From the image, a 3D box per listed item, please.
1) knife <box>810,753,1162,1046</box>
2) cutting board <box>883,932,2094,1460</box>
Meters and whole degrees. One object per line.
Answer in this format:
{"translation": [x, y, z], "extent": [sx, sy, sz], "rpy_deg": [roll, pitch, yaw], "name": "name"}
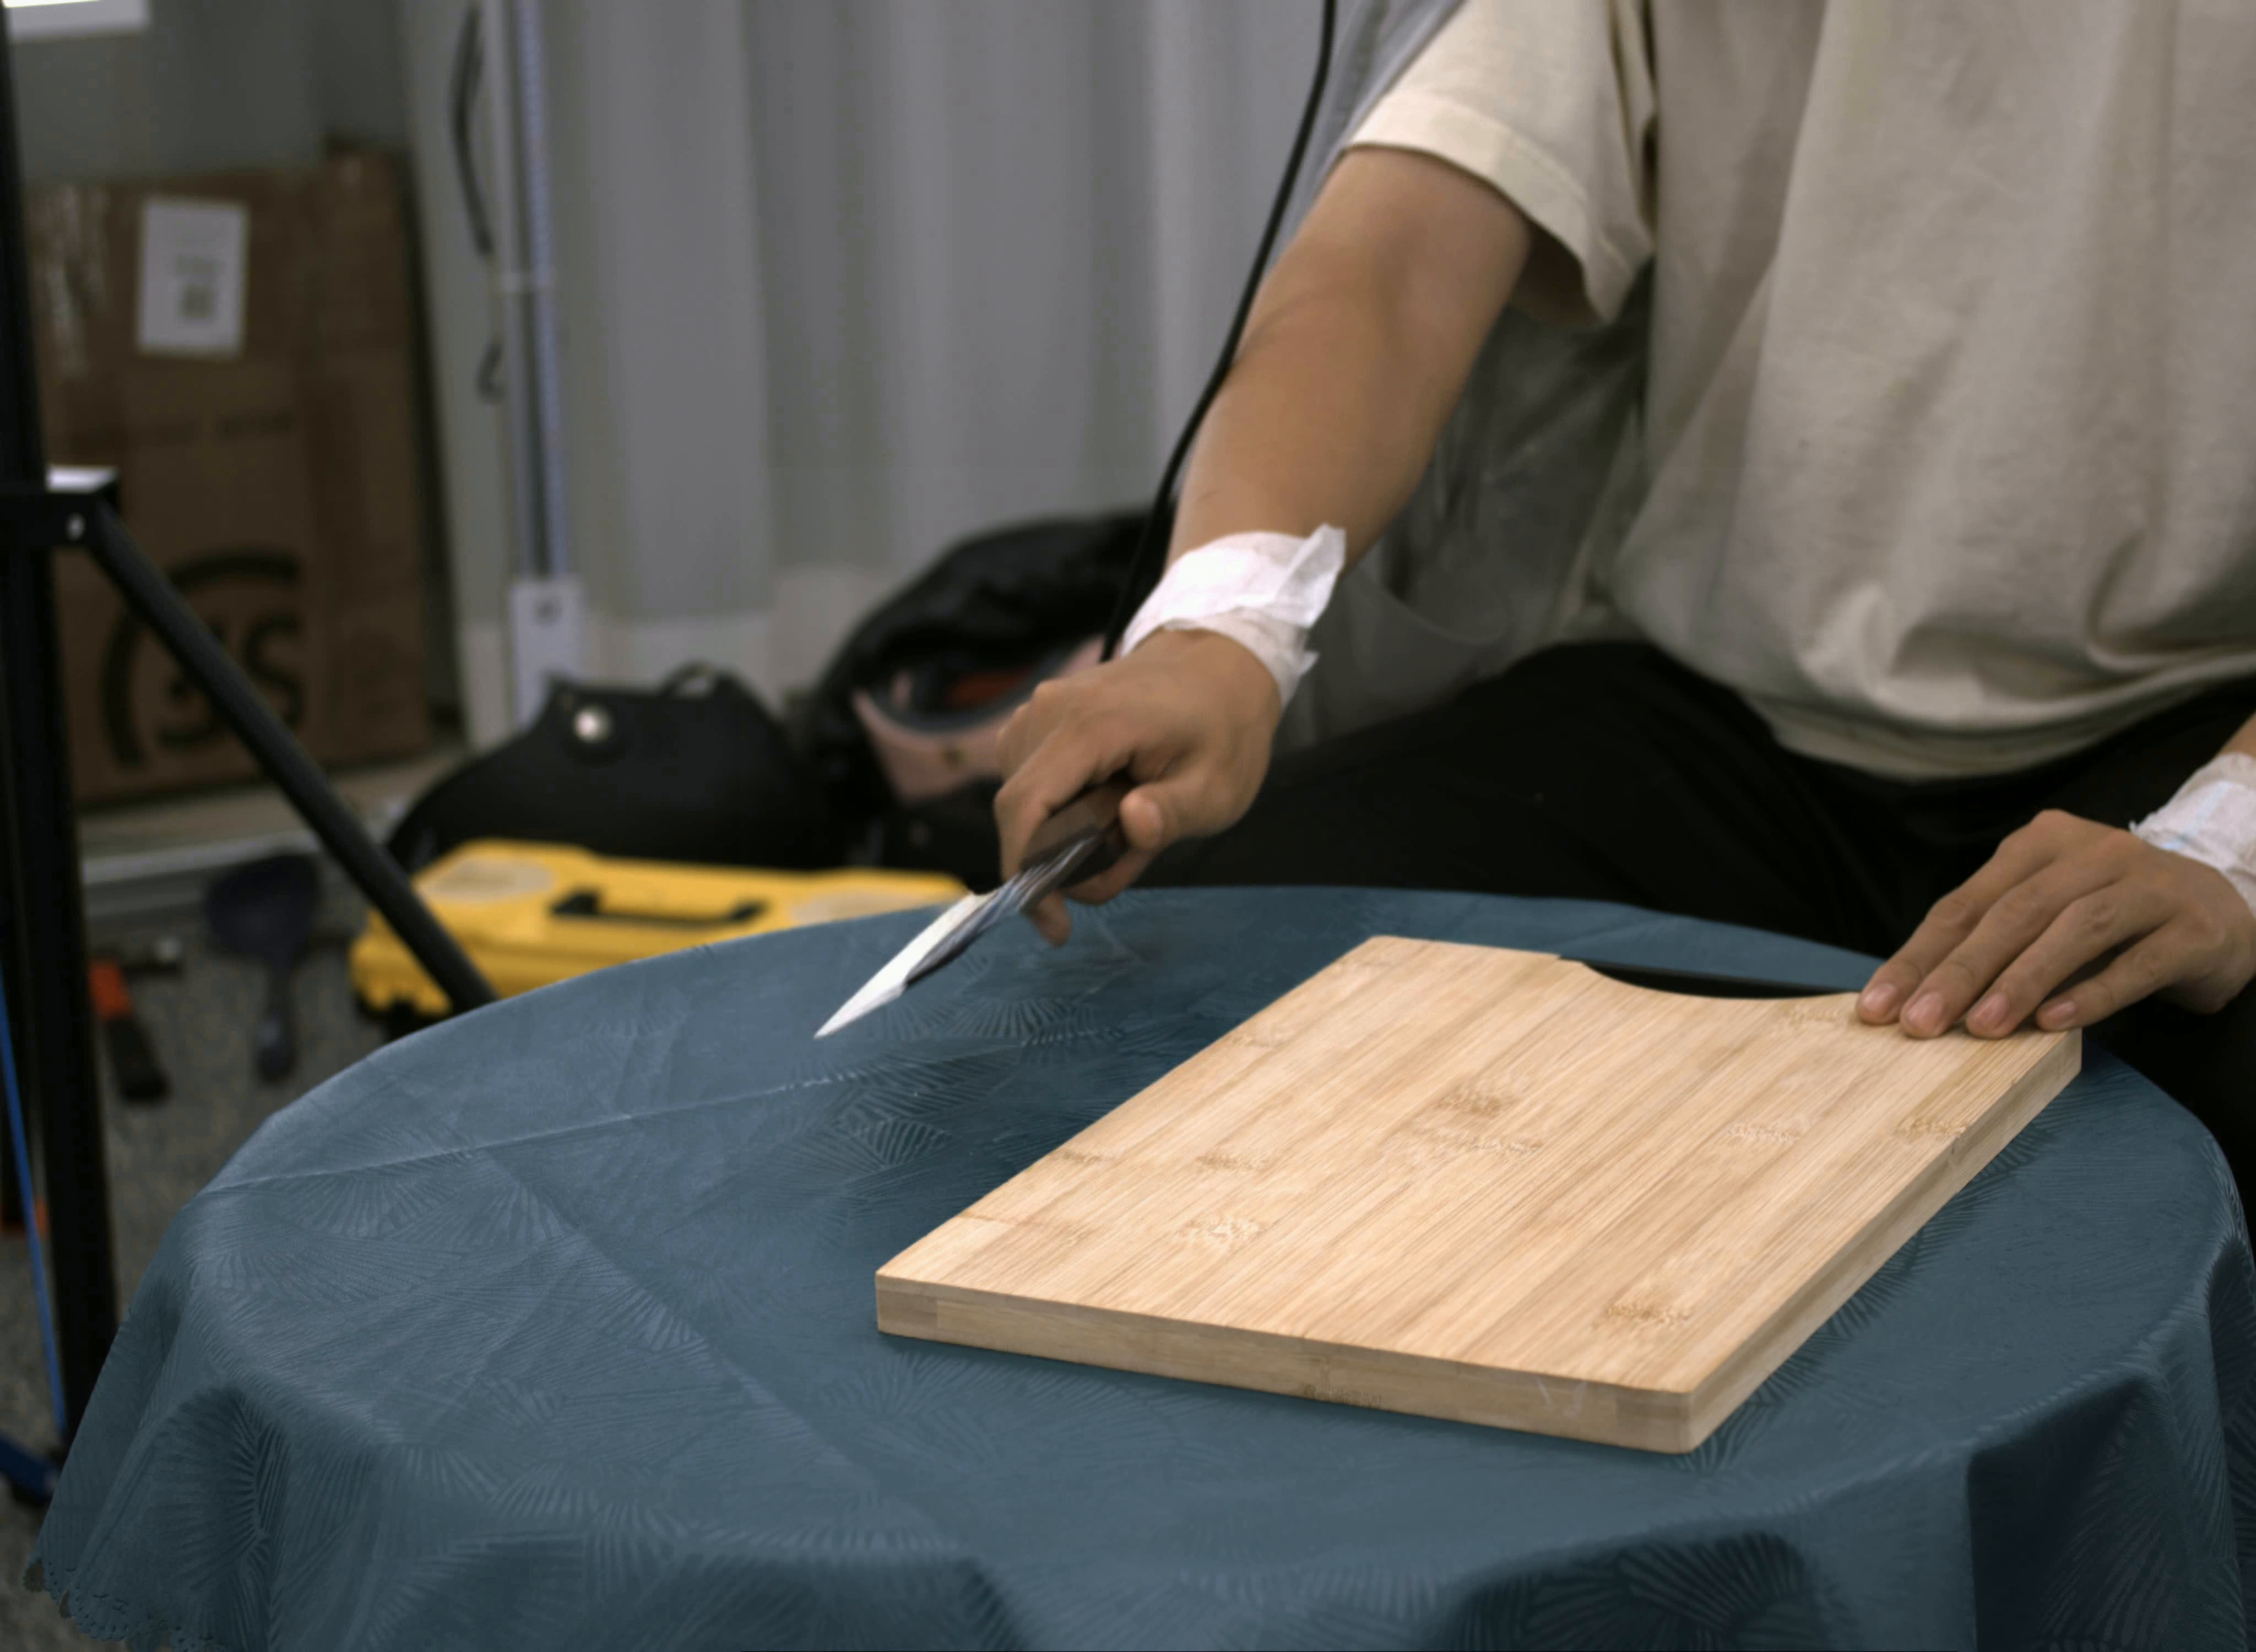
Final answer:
{"translation": [-0.042, 0.023, 1.672], "extent": [0.068, 0.024, 0.297], "rpy_deg": [-28, 5, 16], "name": "knife"}
{"translation": [0.115, 0.098, 1.542], "extent": [0.254, 0.023, 0.343], "rpy_deg": [6, 17, 26], "name": "cutting board"}
